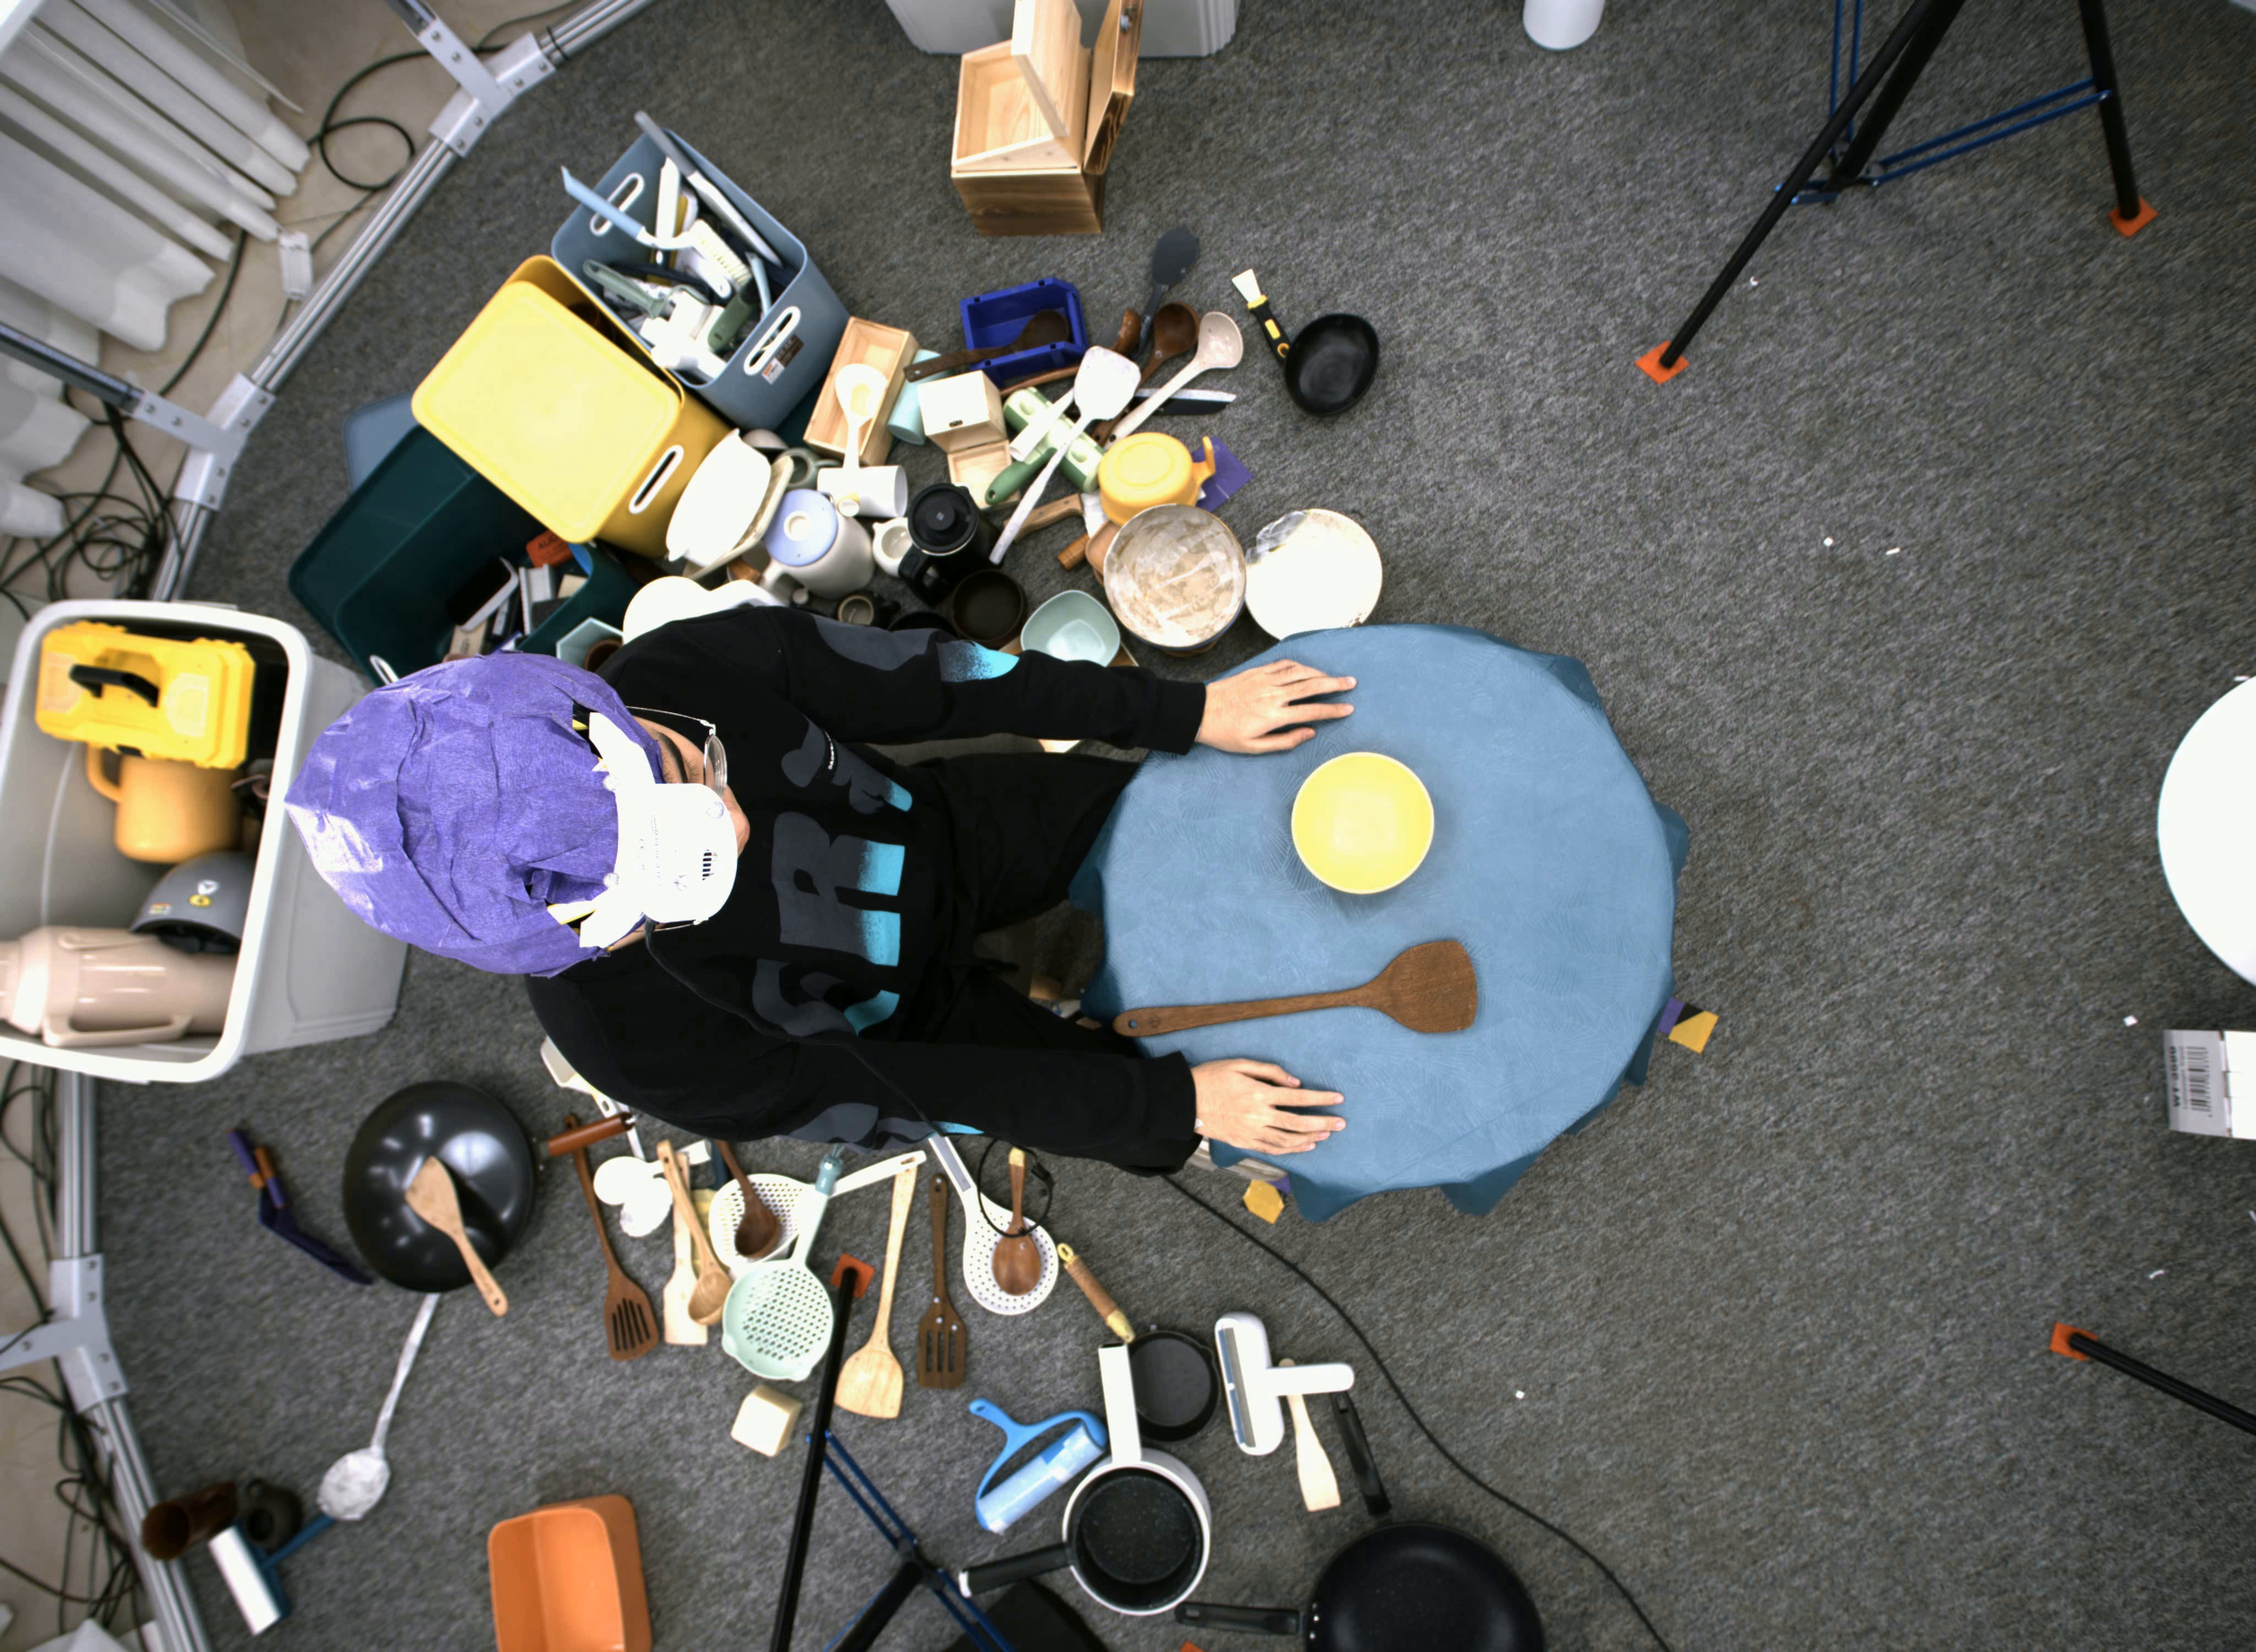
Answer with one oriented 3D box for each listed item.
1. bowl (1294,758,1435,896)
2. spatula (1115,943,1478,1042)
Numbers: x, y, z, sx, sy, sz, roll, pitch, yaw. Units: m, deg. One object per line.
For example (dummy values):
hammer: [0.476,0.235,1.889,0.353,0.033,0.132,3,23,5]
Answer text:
bowl: [0.248,0.003,1.445,0.146,0.060,0.144,-2,83,12]
spatula: [0.174,0.192,1.468,0.388,0.016,0.095,-8,84,10]
